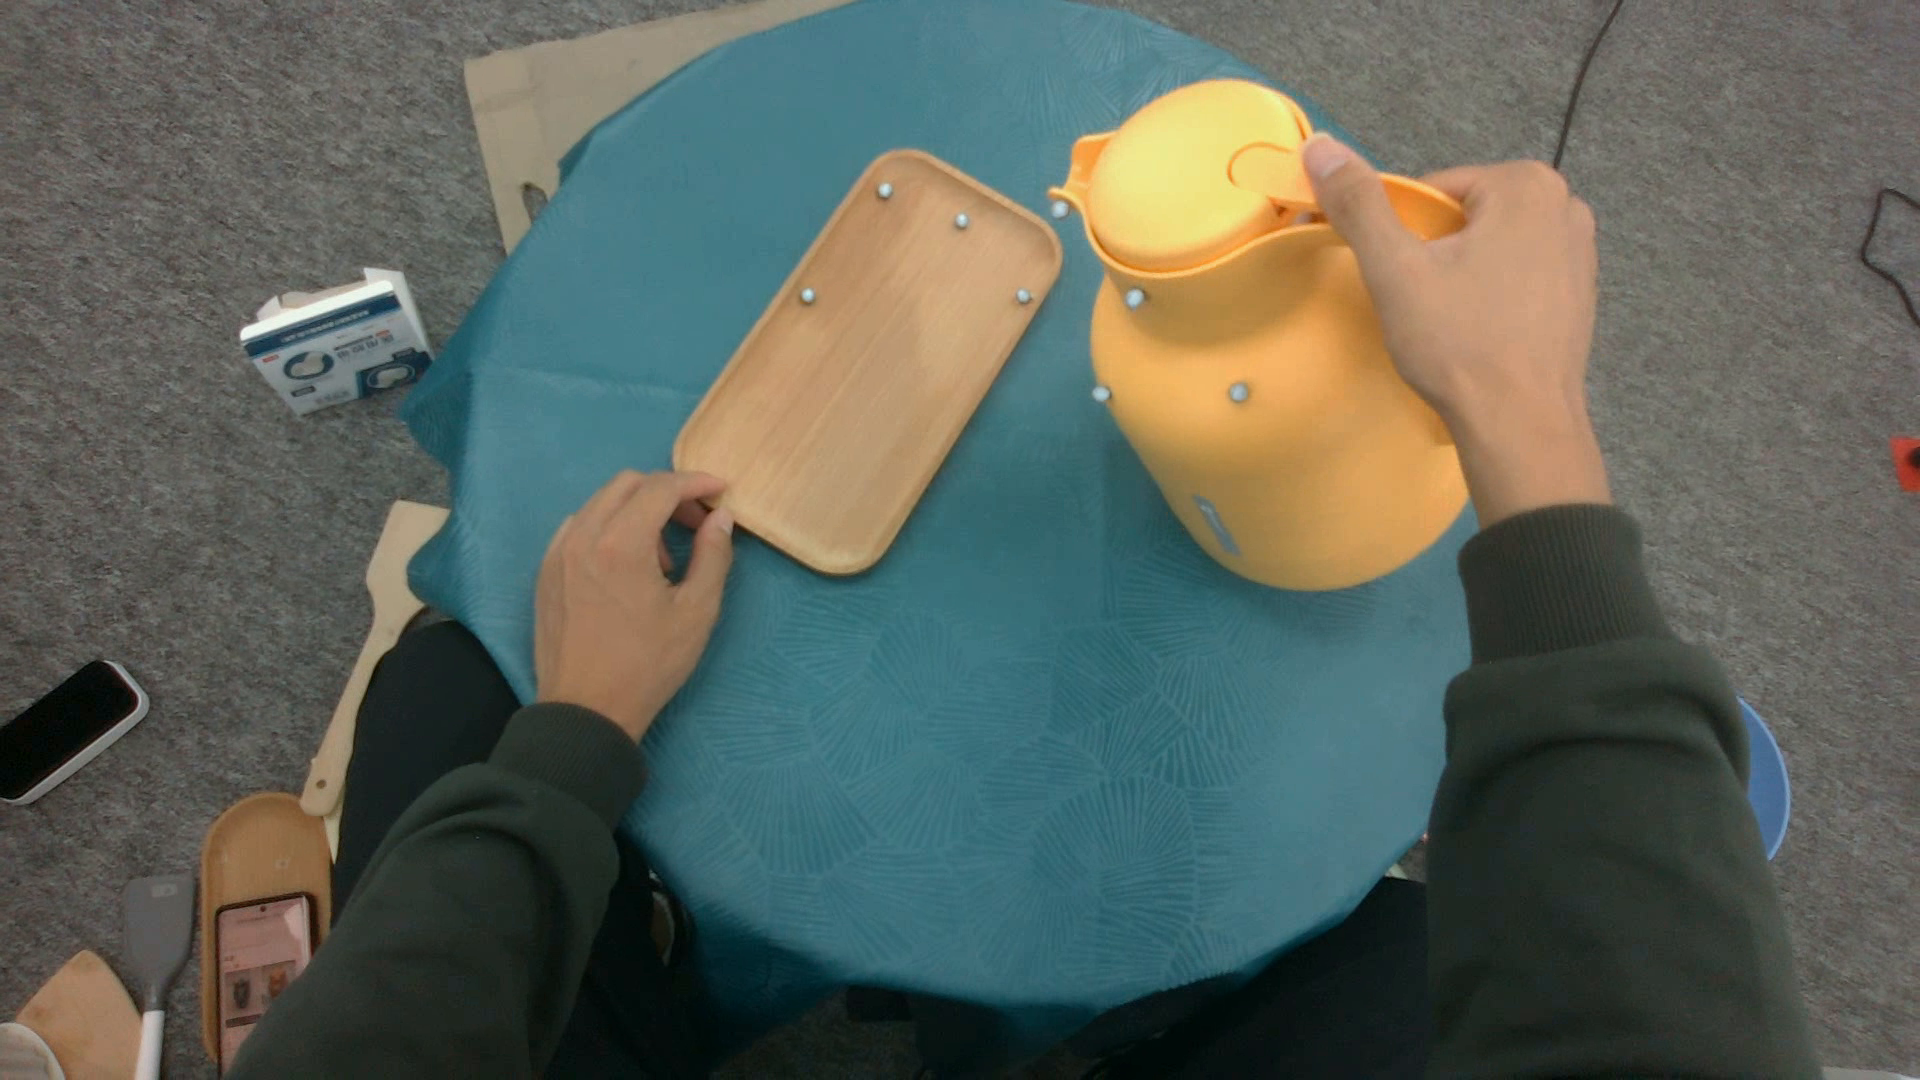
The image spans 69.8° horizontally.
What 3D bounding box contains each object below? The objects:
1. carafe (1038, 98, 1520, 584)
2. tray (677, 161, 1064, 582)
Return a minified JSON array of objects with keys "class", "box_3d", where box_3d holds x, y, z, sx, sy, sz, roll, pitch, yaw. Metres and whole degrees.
[{"class":"carafe","box_3d":[0.161,-0.089,0.648,0.202,0.260,0.164,19,77,39]},{"class":"tray","box_3d":[-0.046,-0.100,0.777,0.130,0.023,0.251,30,71,6]}]
